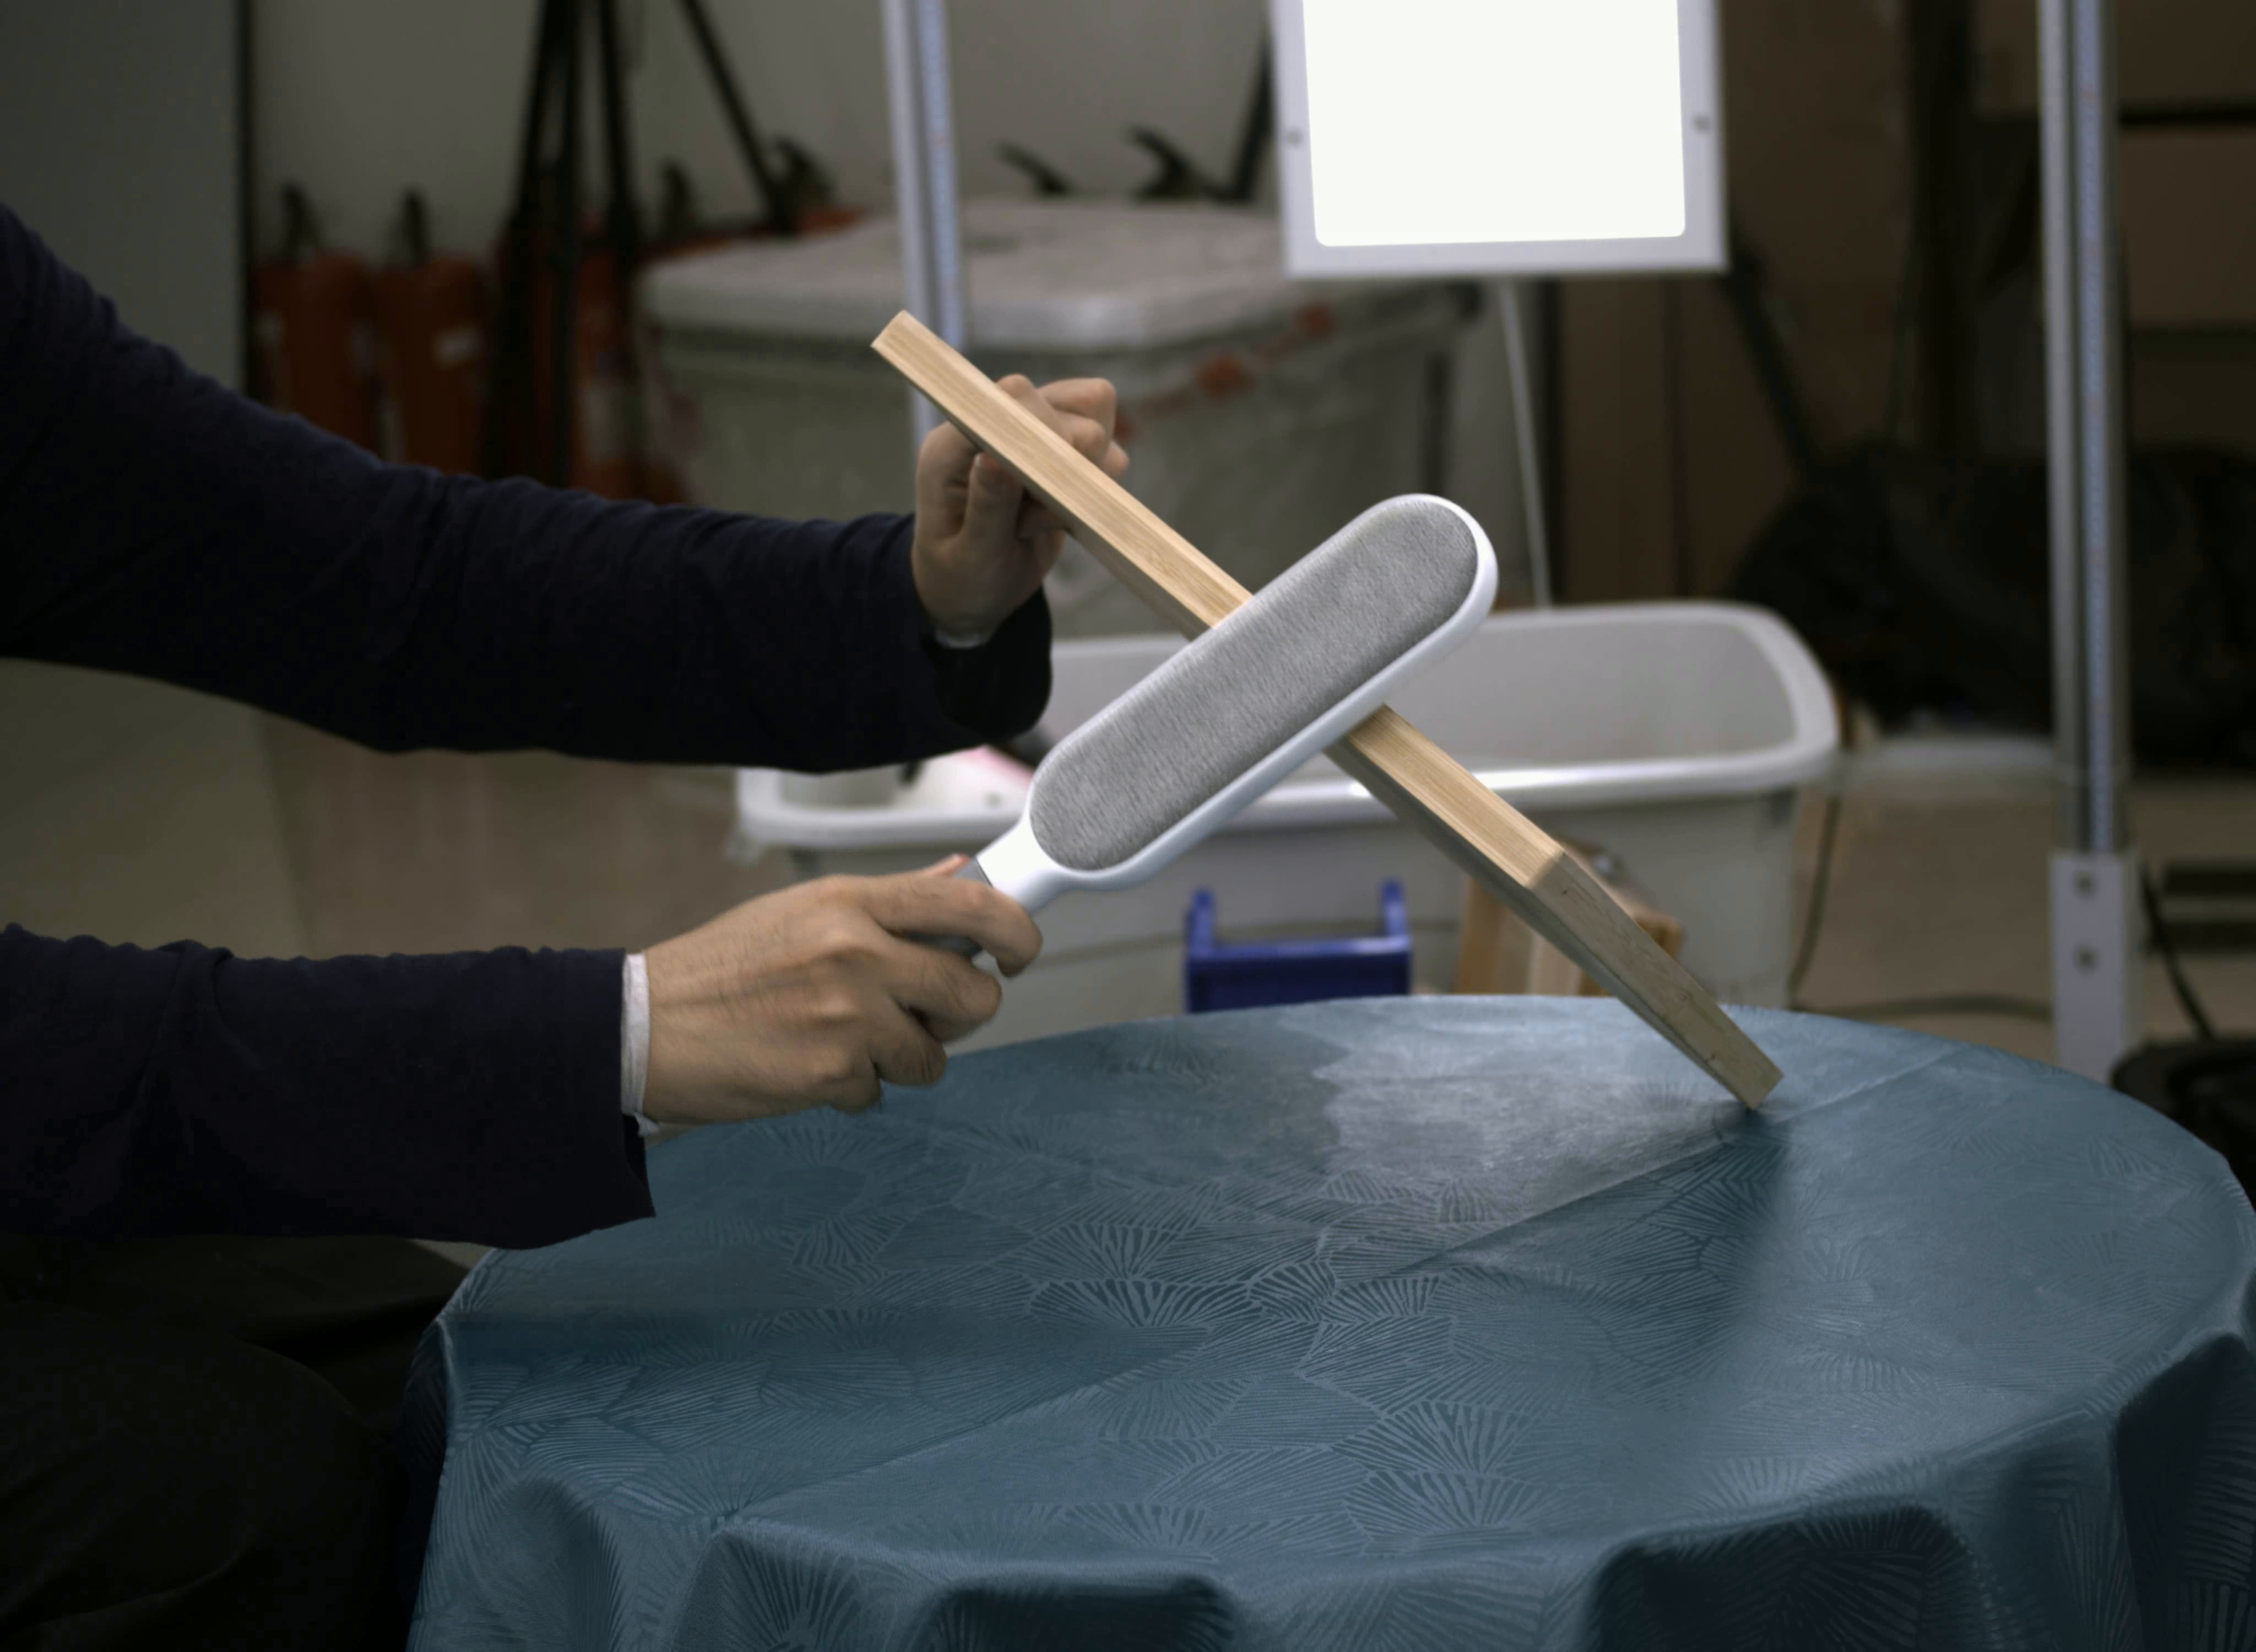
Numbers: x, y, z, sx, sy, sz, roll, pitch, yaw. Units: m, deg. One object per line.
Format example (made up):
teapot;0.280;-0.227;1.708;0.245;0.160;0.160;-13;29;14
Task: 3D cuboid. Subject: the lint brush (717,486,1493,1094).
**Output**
lint brush;-0.010;-0.009;1.796;0.311;0.060;0.020;-37;-27;9

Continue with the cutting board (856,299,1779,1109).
cutting board;0.067;-0.043;1.929;0.353;0.023;0.247;41;0;32
